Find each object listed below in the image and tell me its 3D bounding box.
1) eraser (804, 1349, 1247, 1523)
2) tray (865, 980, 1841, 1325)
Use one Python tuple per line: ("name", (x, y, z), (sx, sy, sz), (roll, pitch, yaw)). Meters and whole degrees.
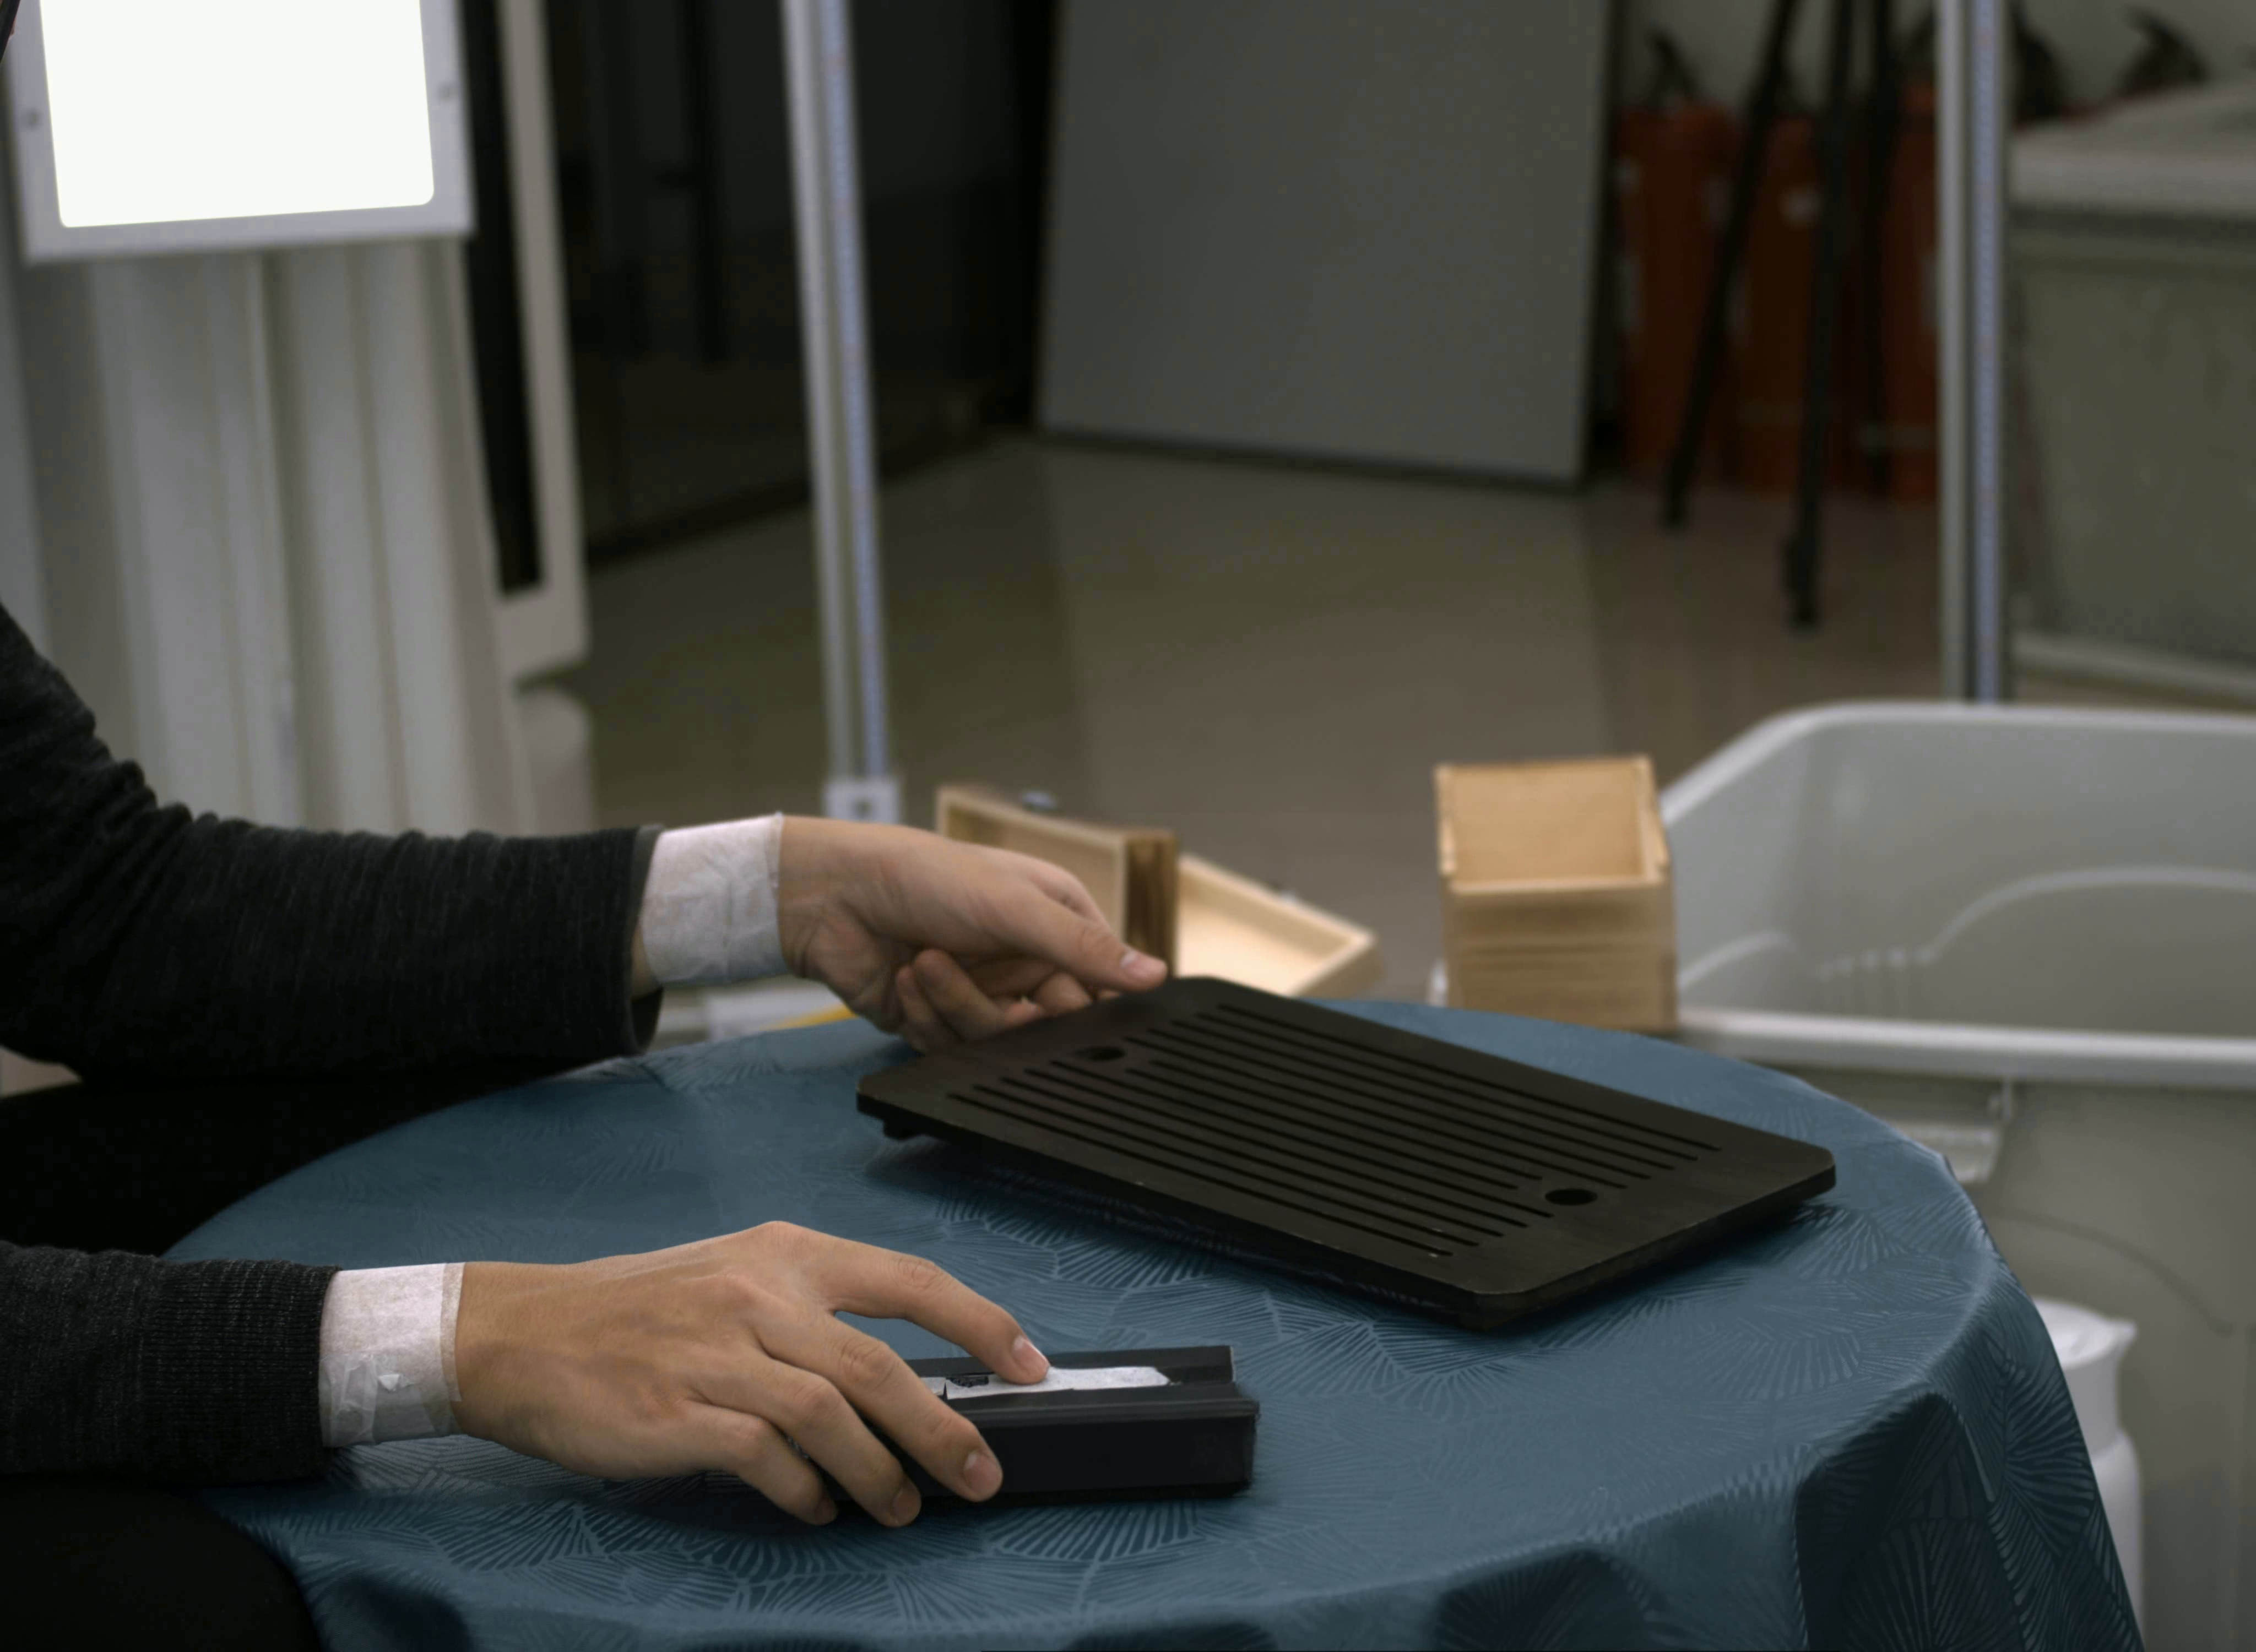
("eraser", (-0.027, 0.171, 1.516), (0.124, 0.031, 0.053), (-5, 12, 2))
("tray", (0.069, 0.103, 1.765), (0.166, 0.019, 0.309), (-16, 20, -40))
